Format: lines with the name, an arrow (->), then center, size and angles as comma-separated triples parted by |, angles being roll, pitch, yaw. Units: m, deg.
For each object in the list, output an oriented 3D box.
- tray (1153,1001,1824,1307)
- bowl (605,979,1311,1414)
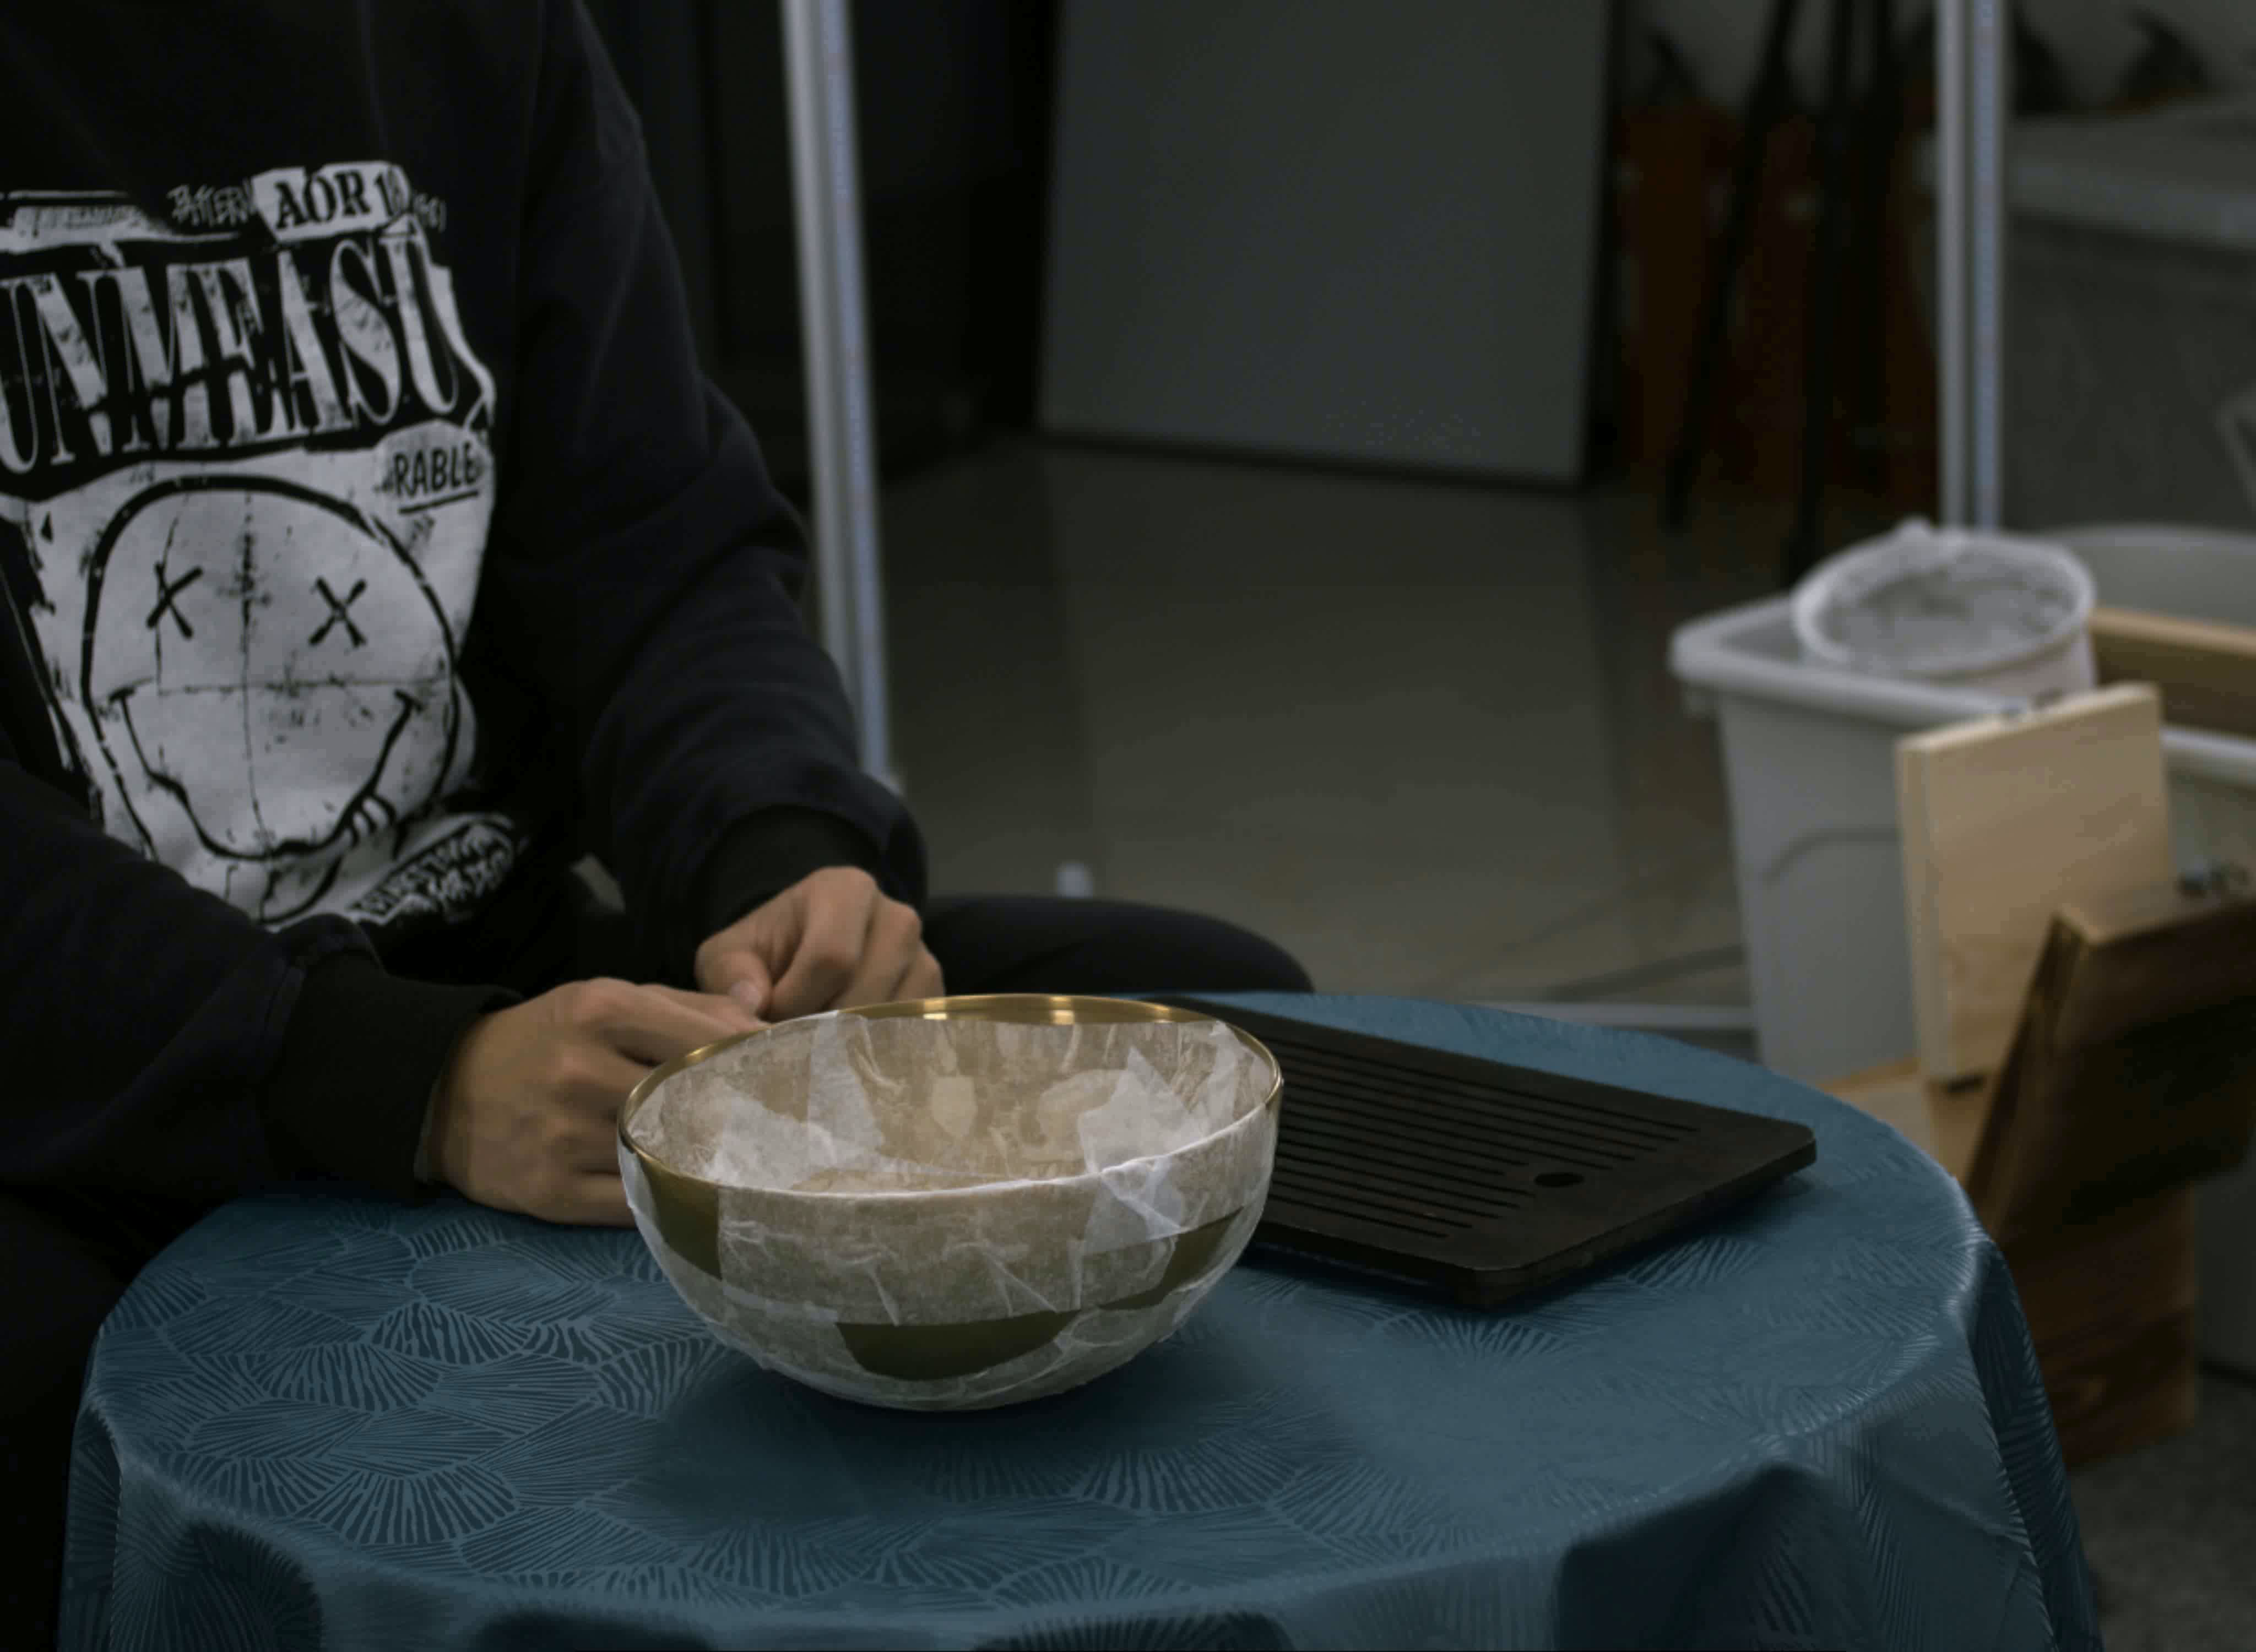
tray -> 0.065, 0.105, 1.780 | 0.309, 0.019, 0.166 | 9, 19, 44
bowl -> -0.048, 0.118, 1.604 | 0.212, 0.095, 0.215 | -5, 14, 0
